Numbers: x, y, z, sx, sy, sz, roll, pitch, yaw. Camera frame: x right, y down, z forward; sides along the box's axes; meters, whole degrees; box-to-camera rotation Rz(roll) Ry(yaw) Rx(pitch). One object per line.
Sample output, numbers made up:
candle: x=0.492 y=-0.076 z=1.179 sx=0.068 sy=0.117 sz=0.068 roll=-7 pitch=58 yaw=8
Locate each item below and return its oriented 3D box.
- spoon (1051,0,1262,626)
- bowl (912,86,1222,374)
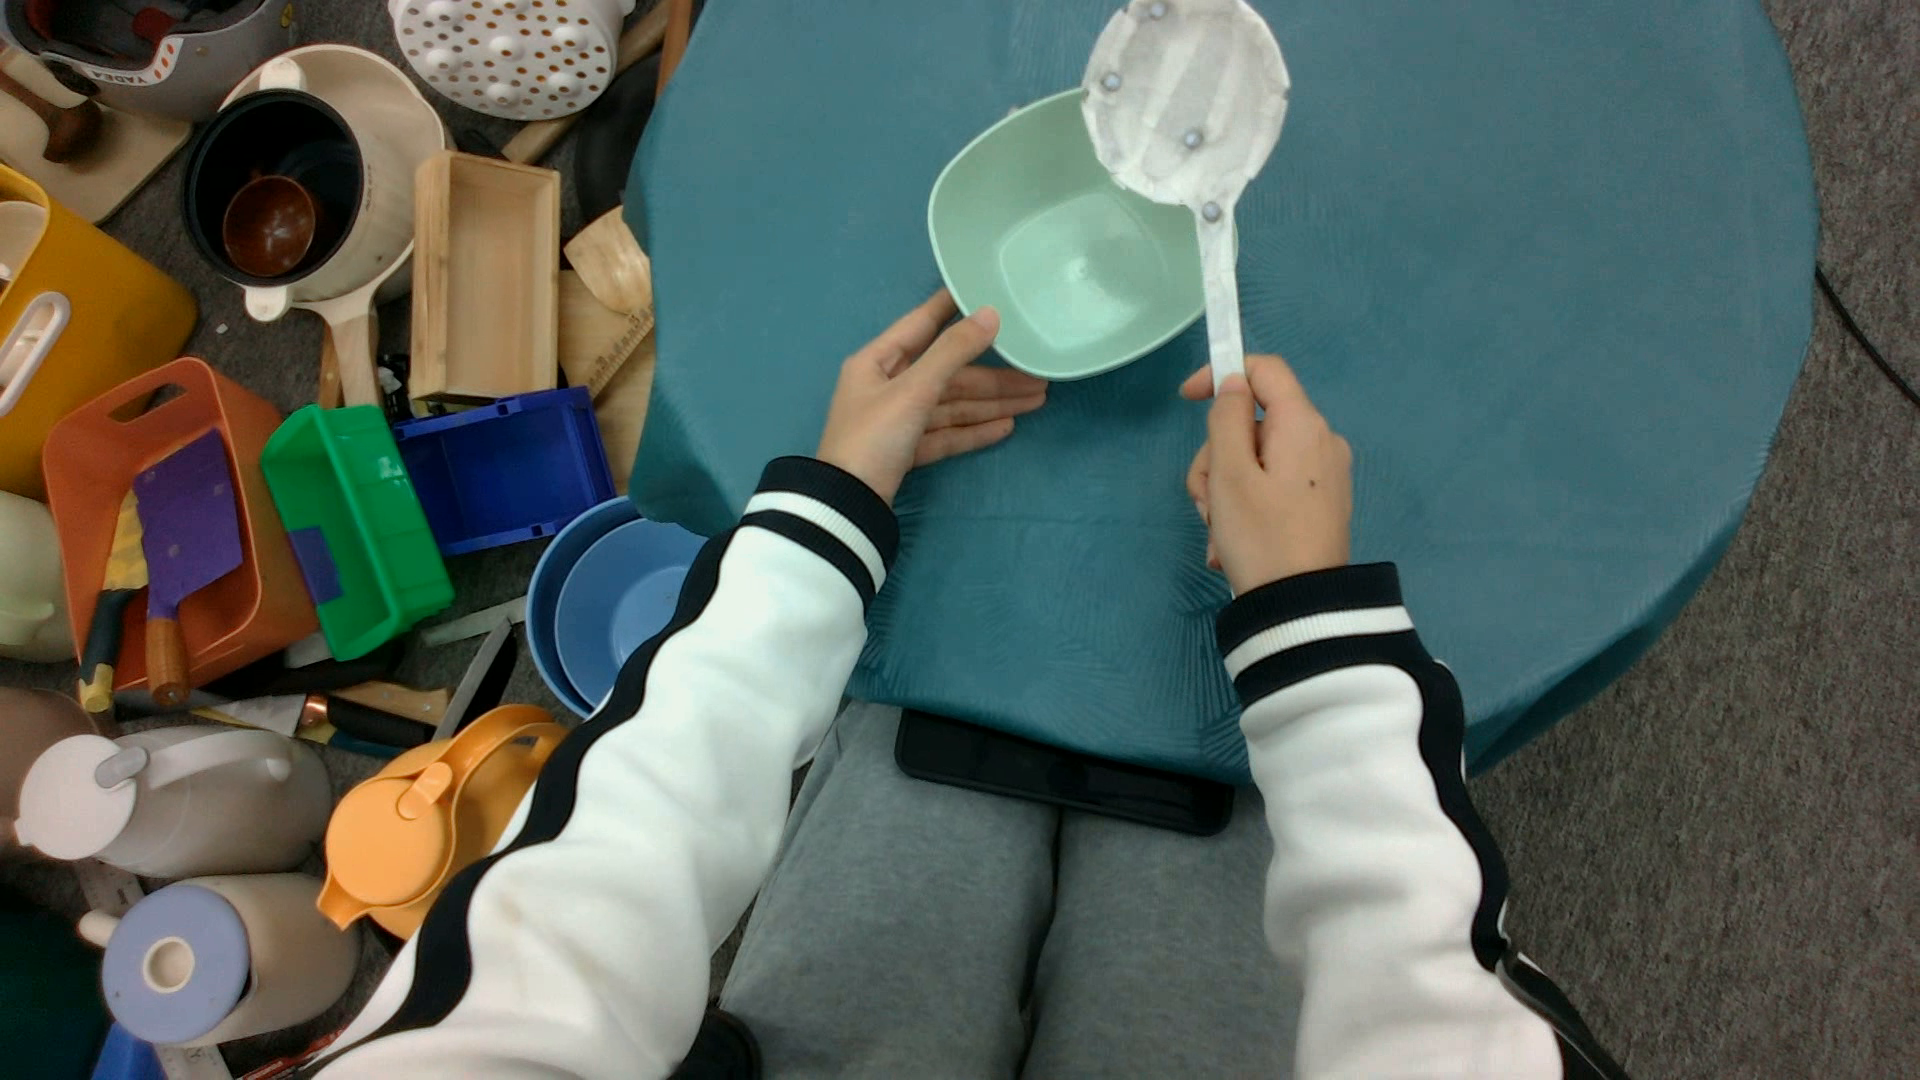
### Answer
spoon: x=0.088 y=-0.102 z=0.600 sx=0.100 sy=0.059 sz=0.278 roll=-10 pitch=76 yaw=37
bowl: x=0.053 y=-0.147 z=0.689 sx=0.151 sy=0.058 sz=0.151 roll=-1 pitch=78 yaw=4
